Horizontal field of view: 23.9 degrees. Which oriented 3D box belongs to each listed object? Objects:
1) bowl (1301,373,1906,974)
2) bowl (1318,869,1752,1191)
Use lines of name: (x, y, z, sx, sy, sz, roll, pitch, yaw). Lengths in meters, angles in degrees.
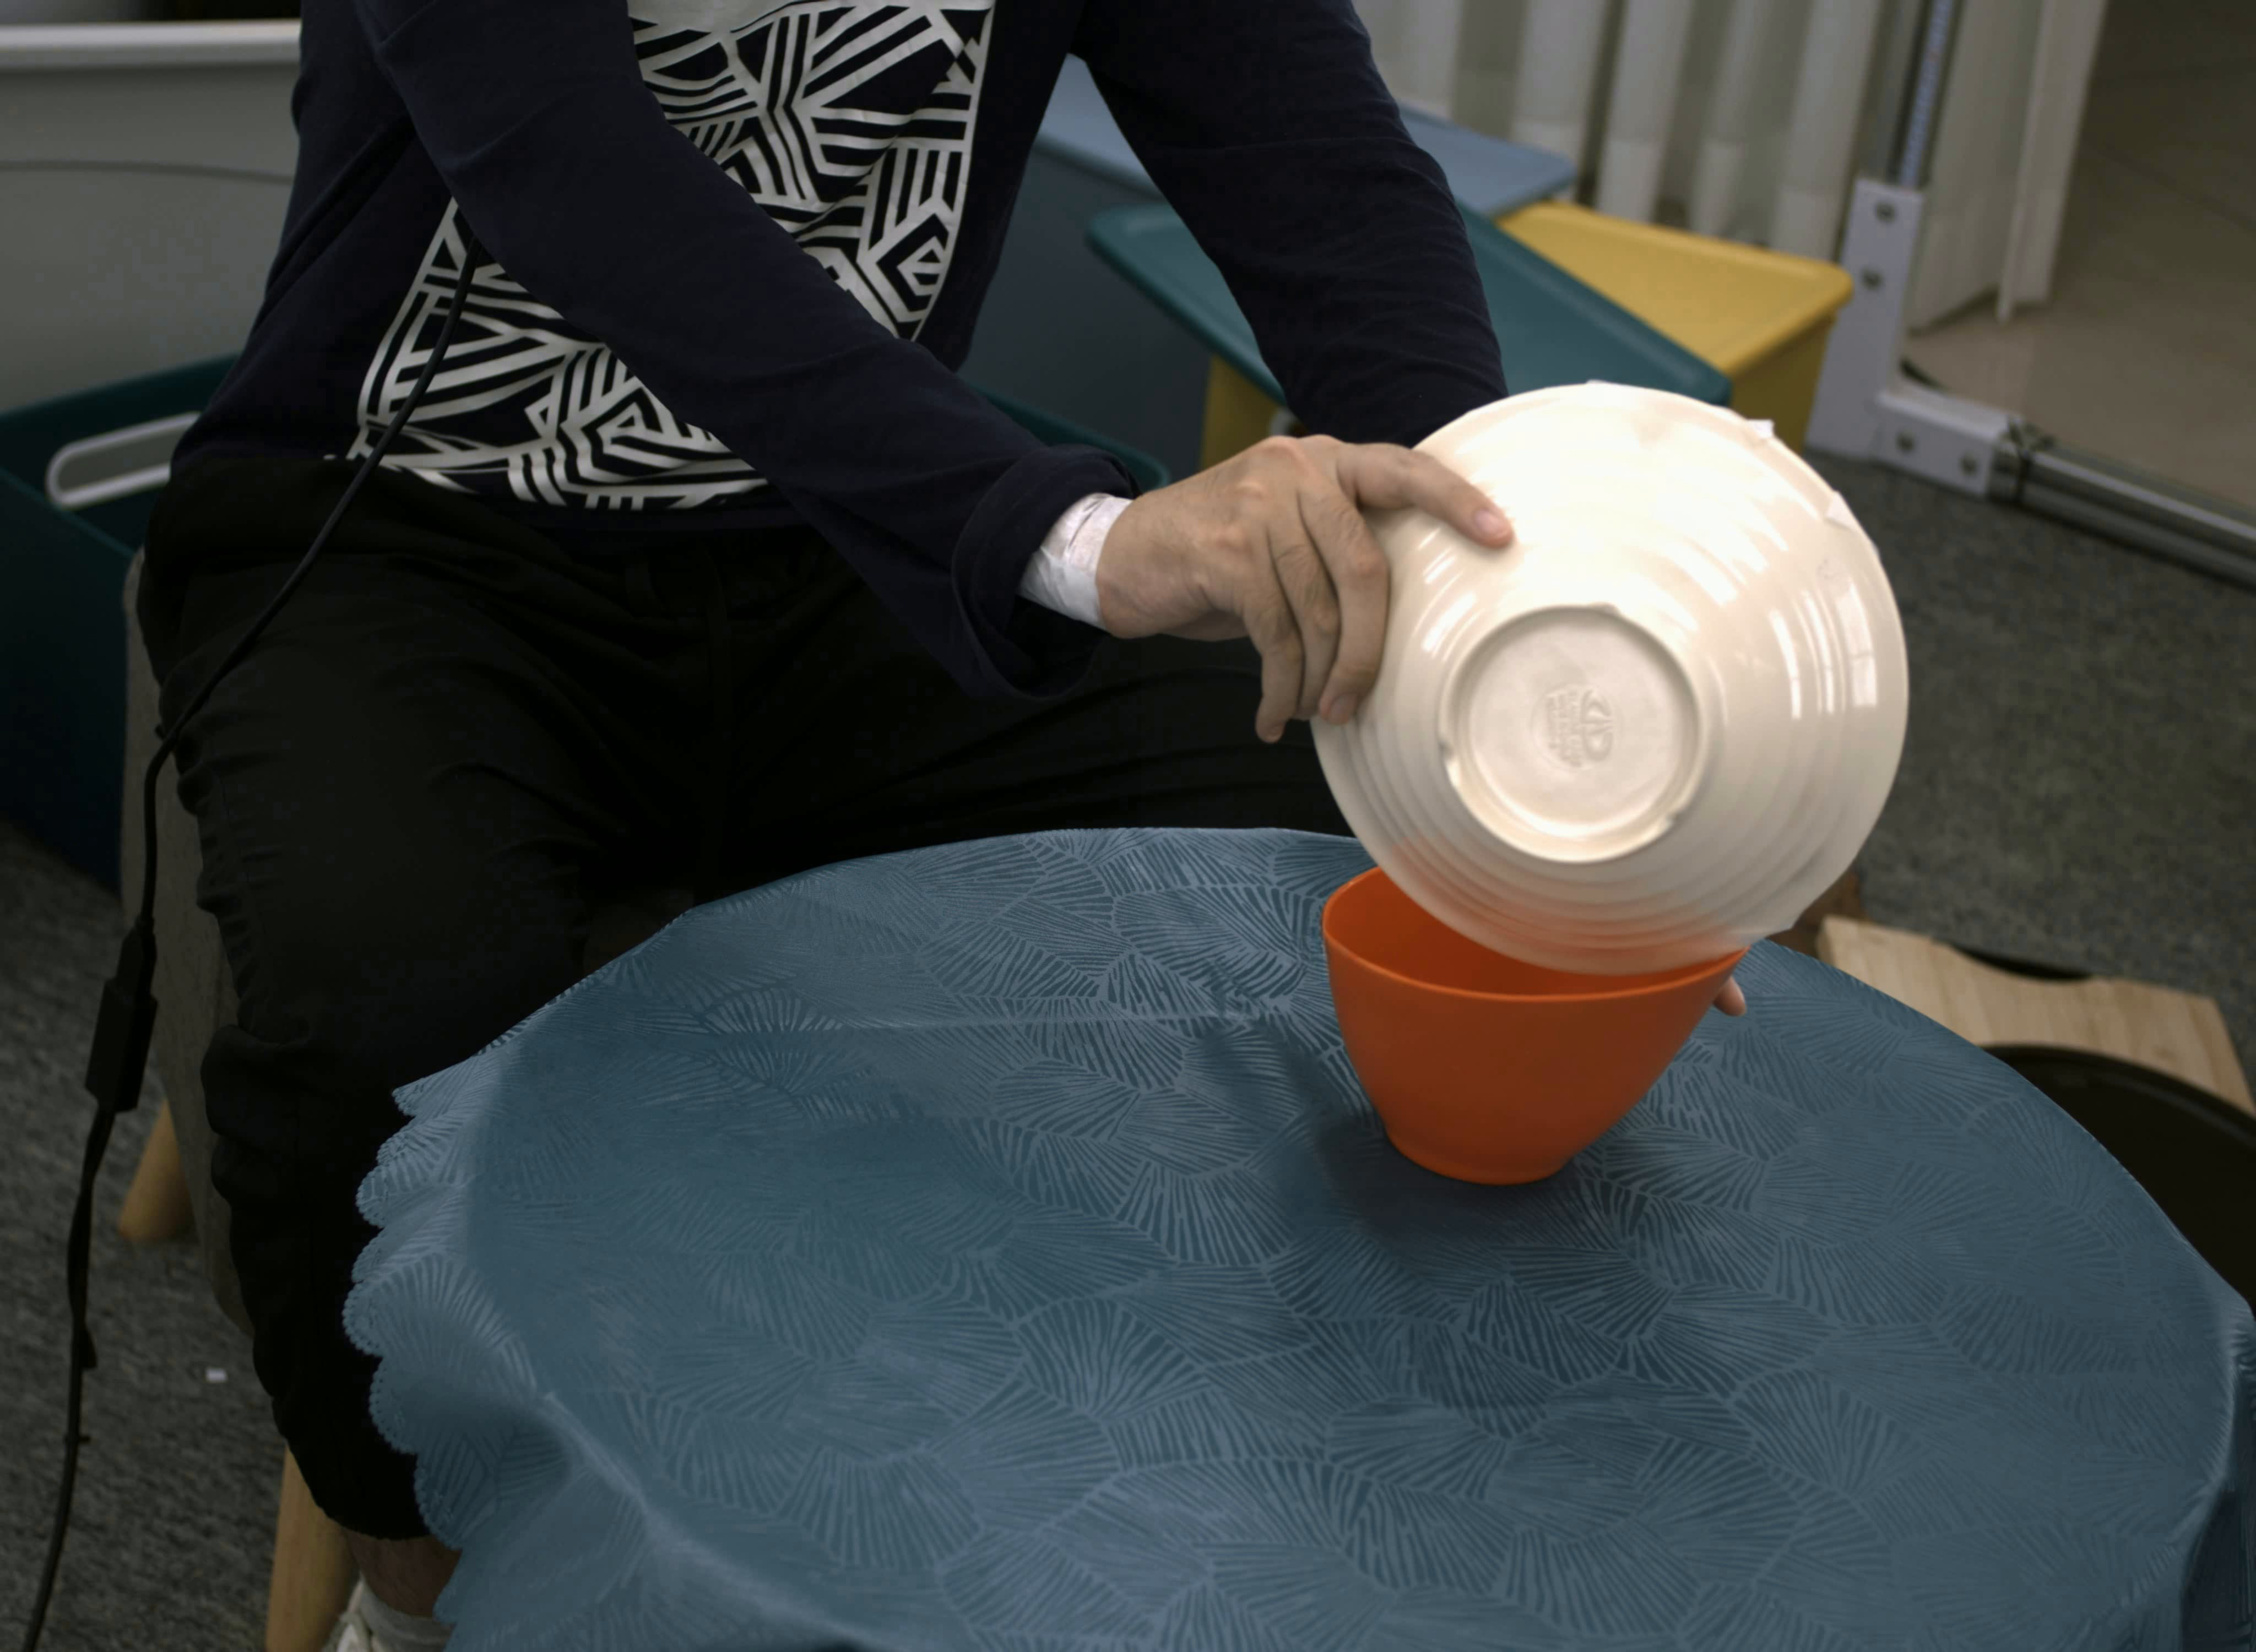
bowl: (0.150, -0.042, 1.740, 0.204, 0.204, 0.078, 12, 15, 10)
bowl: (0.134, 0.070, 1.833, 0.147, 0.104, 0.149, 4, 25, -2)
